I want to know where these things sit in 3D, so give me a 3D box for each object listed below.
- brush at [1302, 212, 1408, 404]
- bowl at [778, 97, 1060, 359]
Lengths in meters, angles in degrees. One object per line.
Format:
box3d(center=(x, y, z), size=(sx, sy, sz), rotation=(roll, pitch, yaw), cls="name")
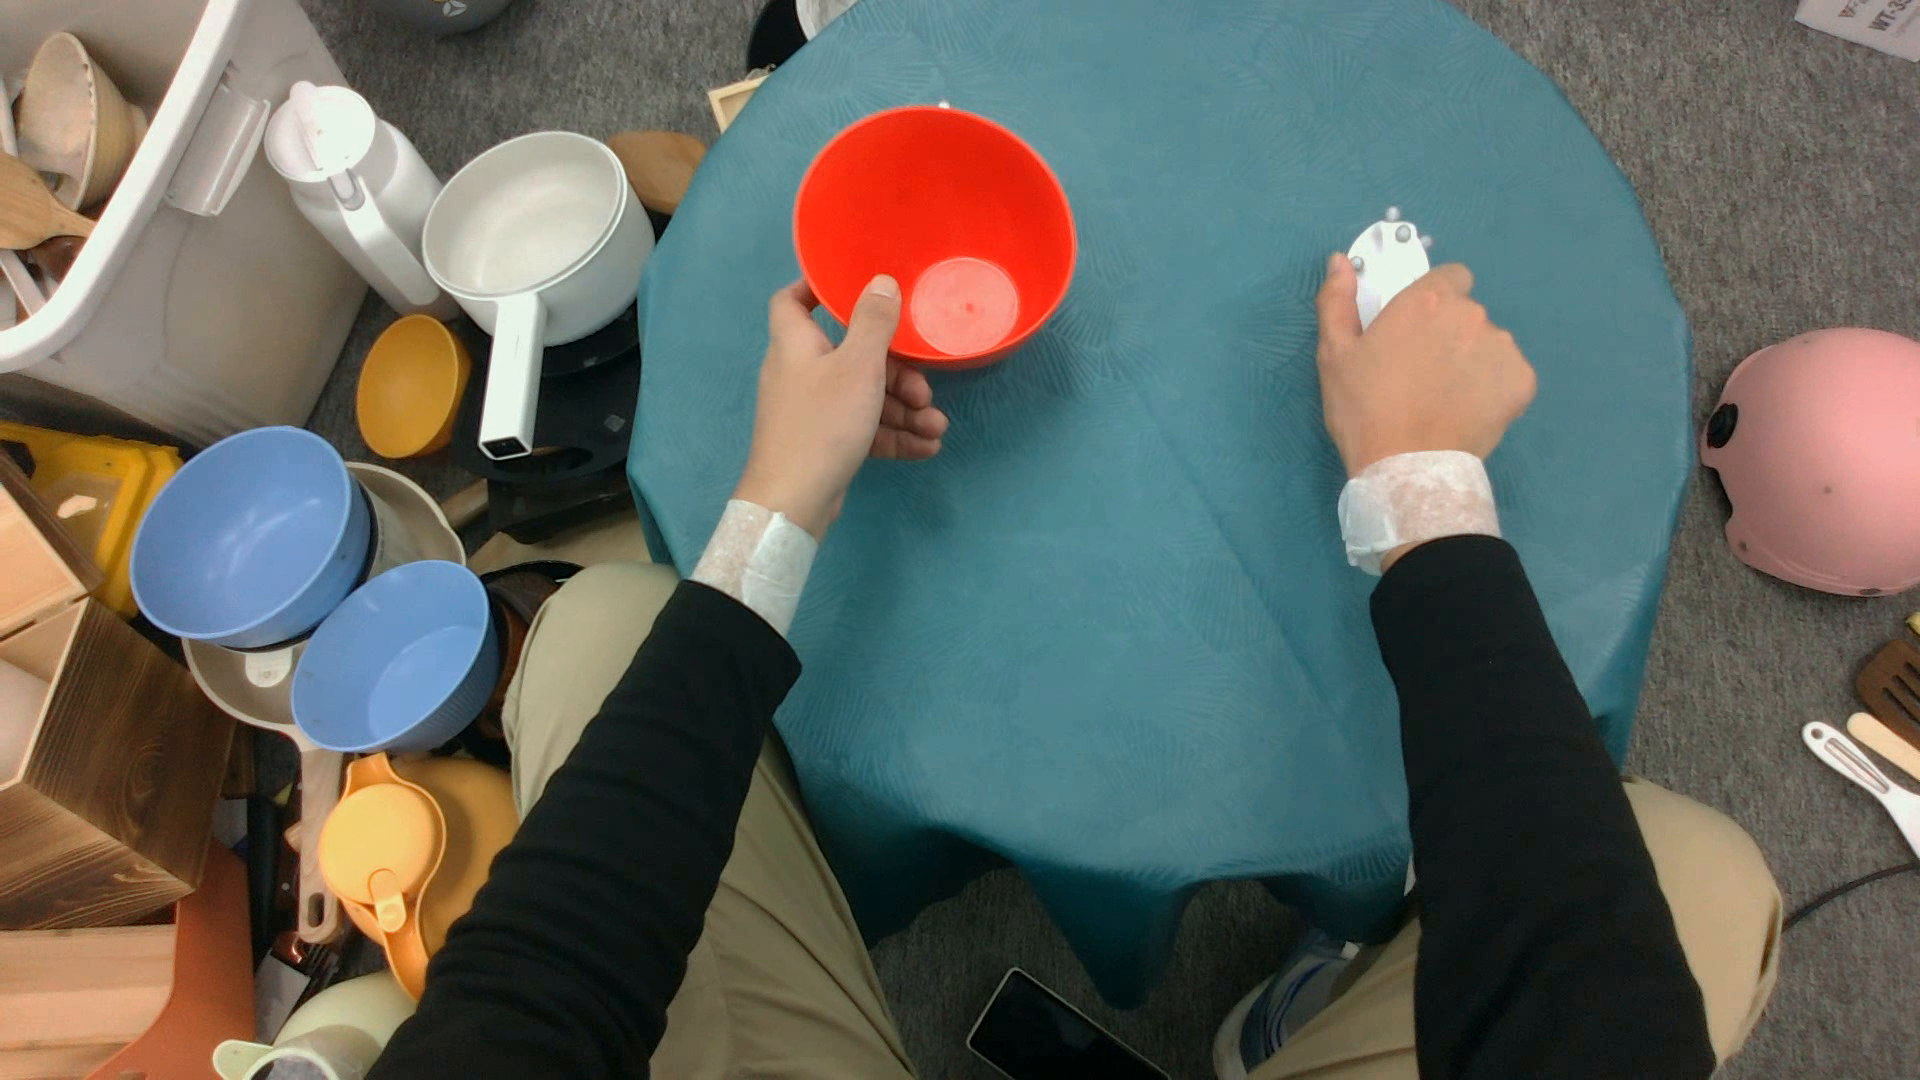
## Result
box3d(center=(0.223, -0.134, 0.760), size=(0.050, 0.072, 0.099), rotation=(10, 73, 4), cls="brush")
box3d(center=(-0.020, -0.157, 0.763), size=(0.148, 0.104, 0.148), rotation=(0, 74, 1), cls="bowl")
